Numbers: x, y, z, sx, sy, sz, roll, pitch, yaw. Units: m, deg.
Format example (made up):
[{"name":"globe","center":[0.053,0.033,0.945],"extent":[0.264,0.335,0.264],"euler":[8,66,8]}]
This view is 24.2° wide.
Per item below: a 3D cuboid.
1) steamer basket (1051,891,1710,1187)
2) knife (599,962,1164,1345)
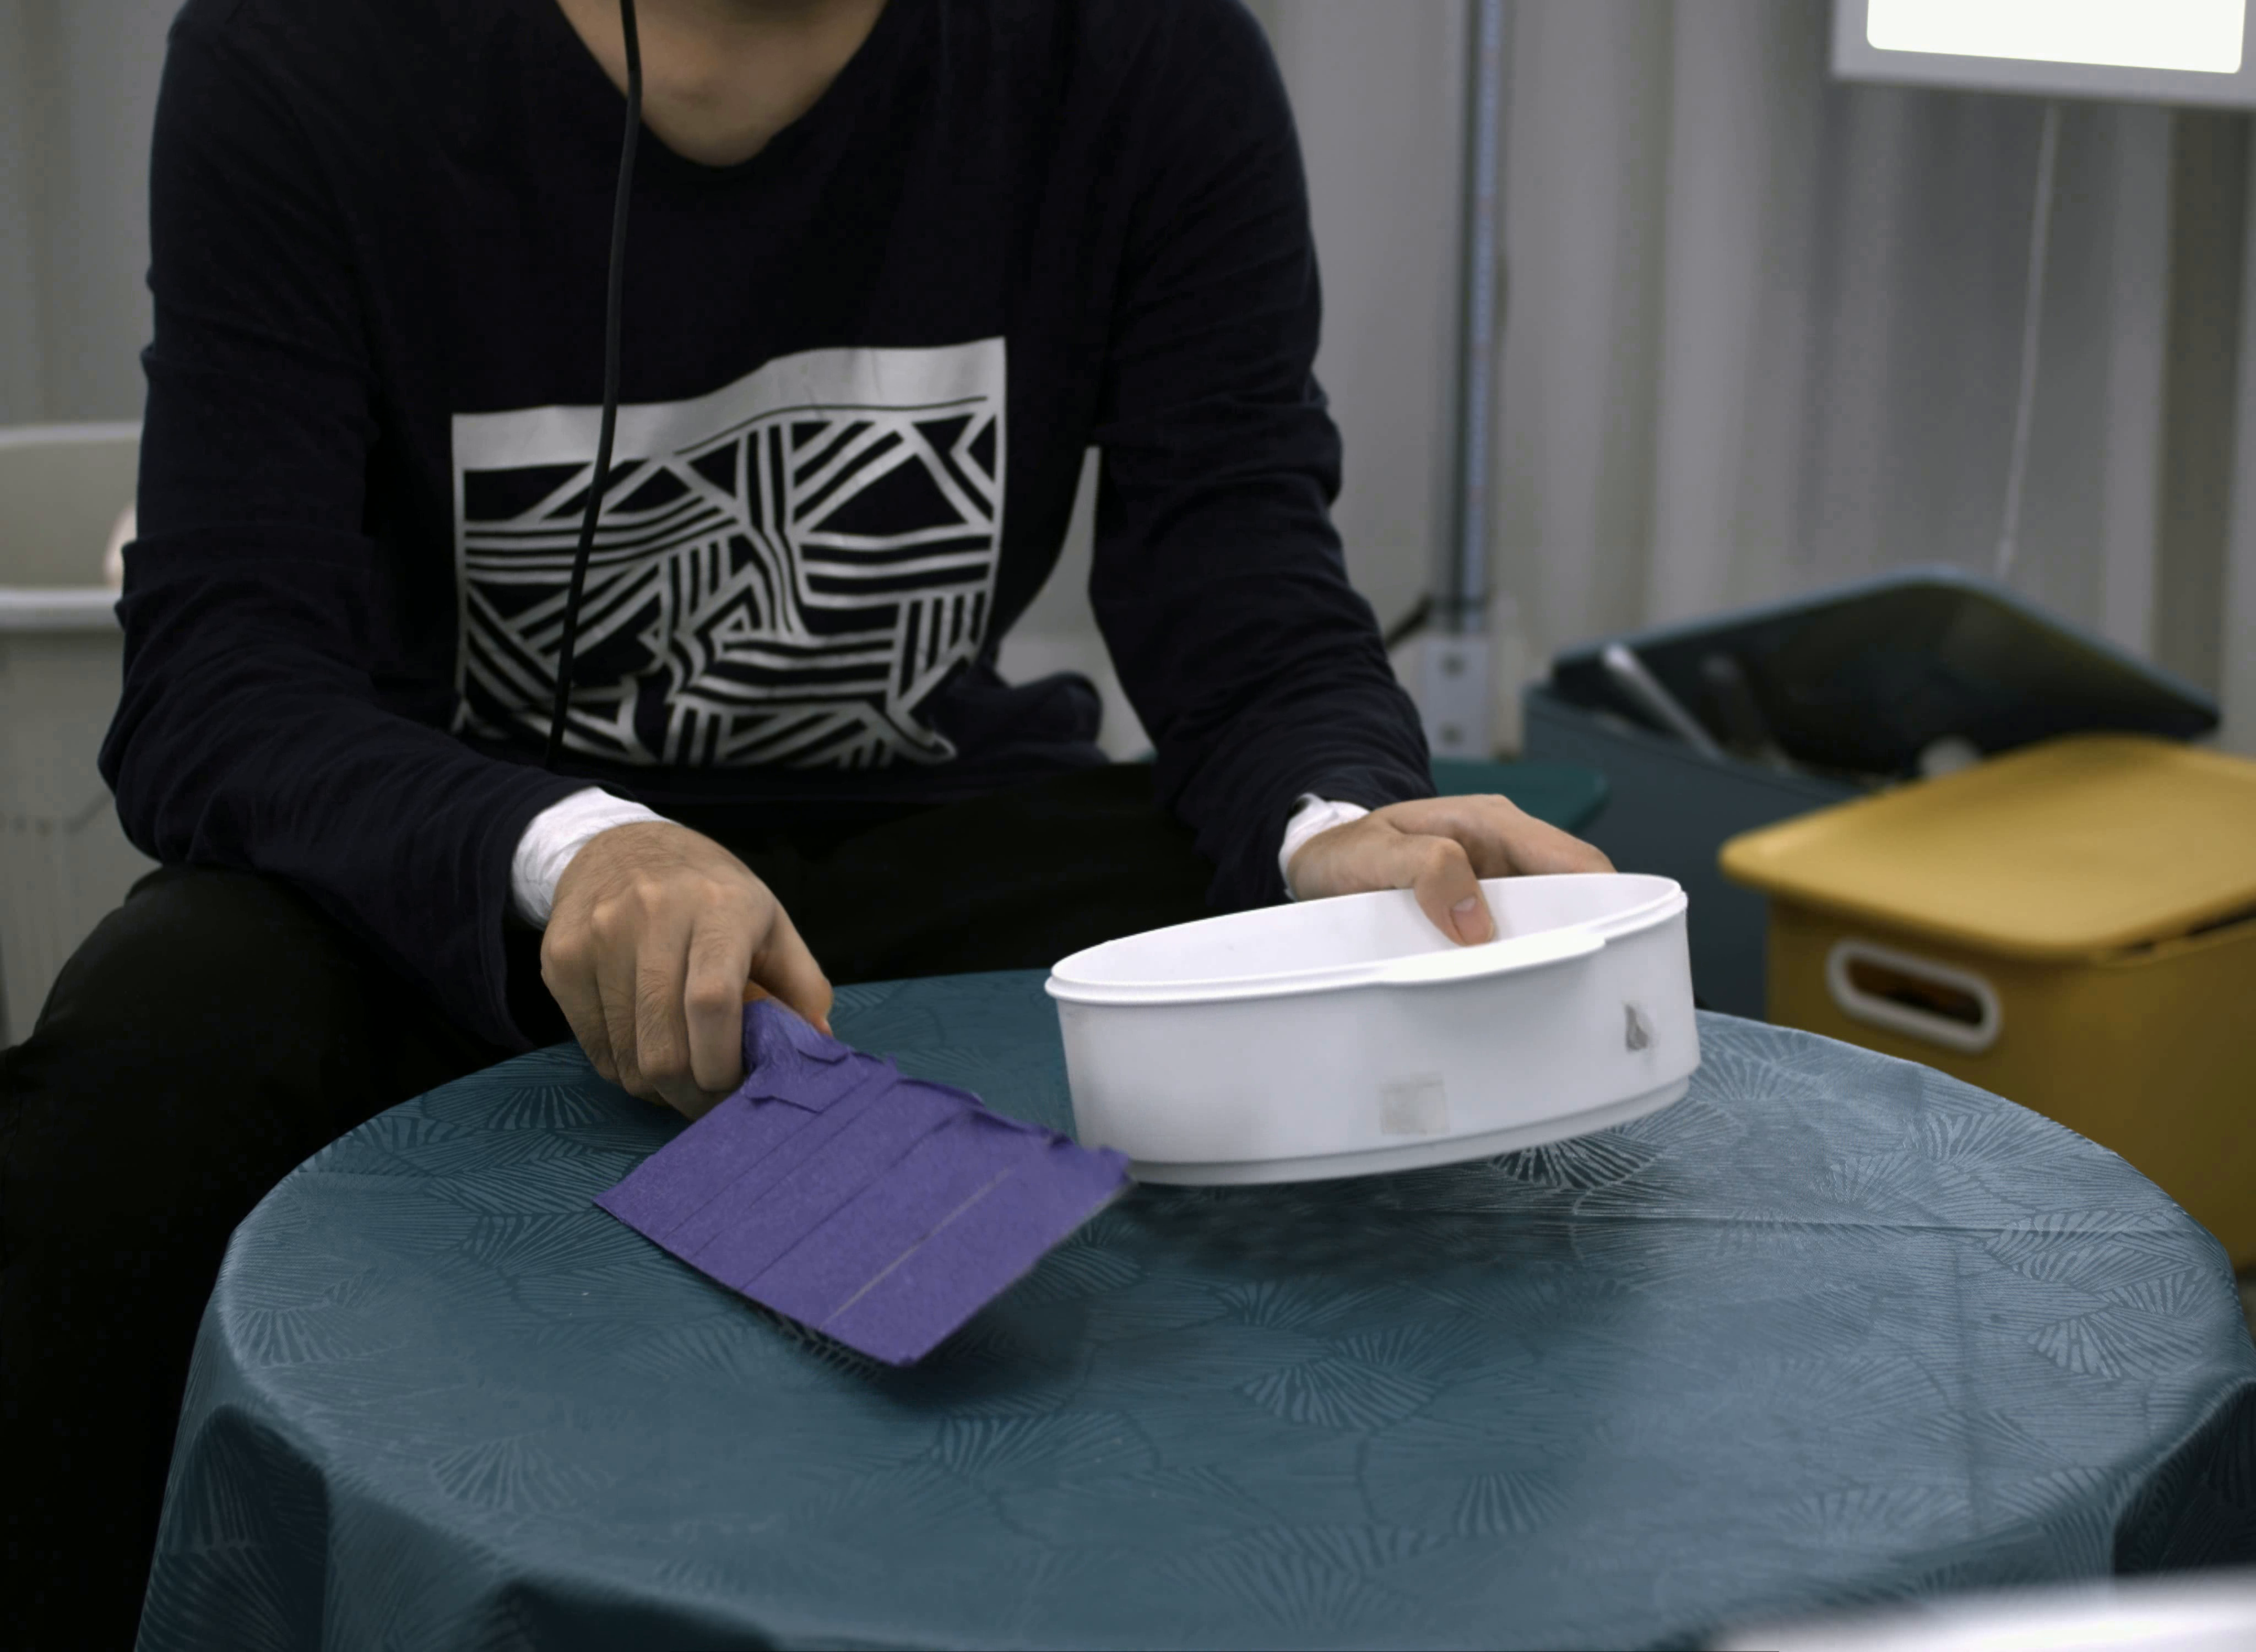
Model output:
[{"name":"steamer basket","center":[0.080,0.066,1.616],"extent":[0.202,0.069,0.229],"euler":[-8,2,-20]},{"name":"knife","center":[-0.105,0.094,1.578],"extent":[0.104,0.032,0.311],"euler":[-36,23,-21]}]
